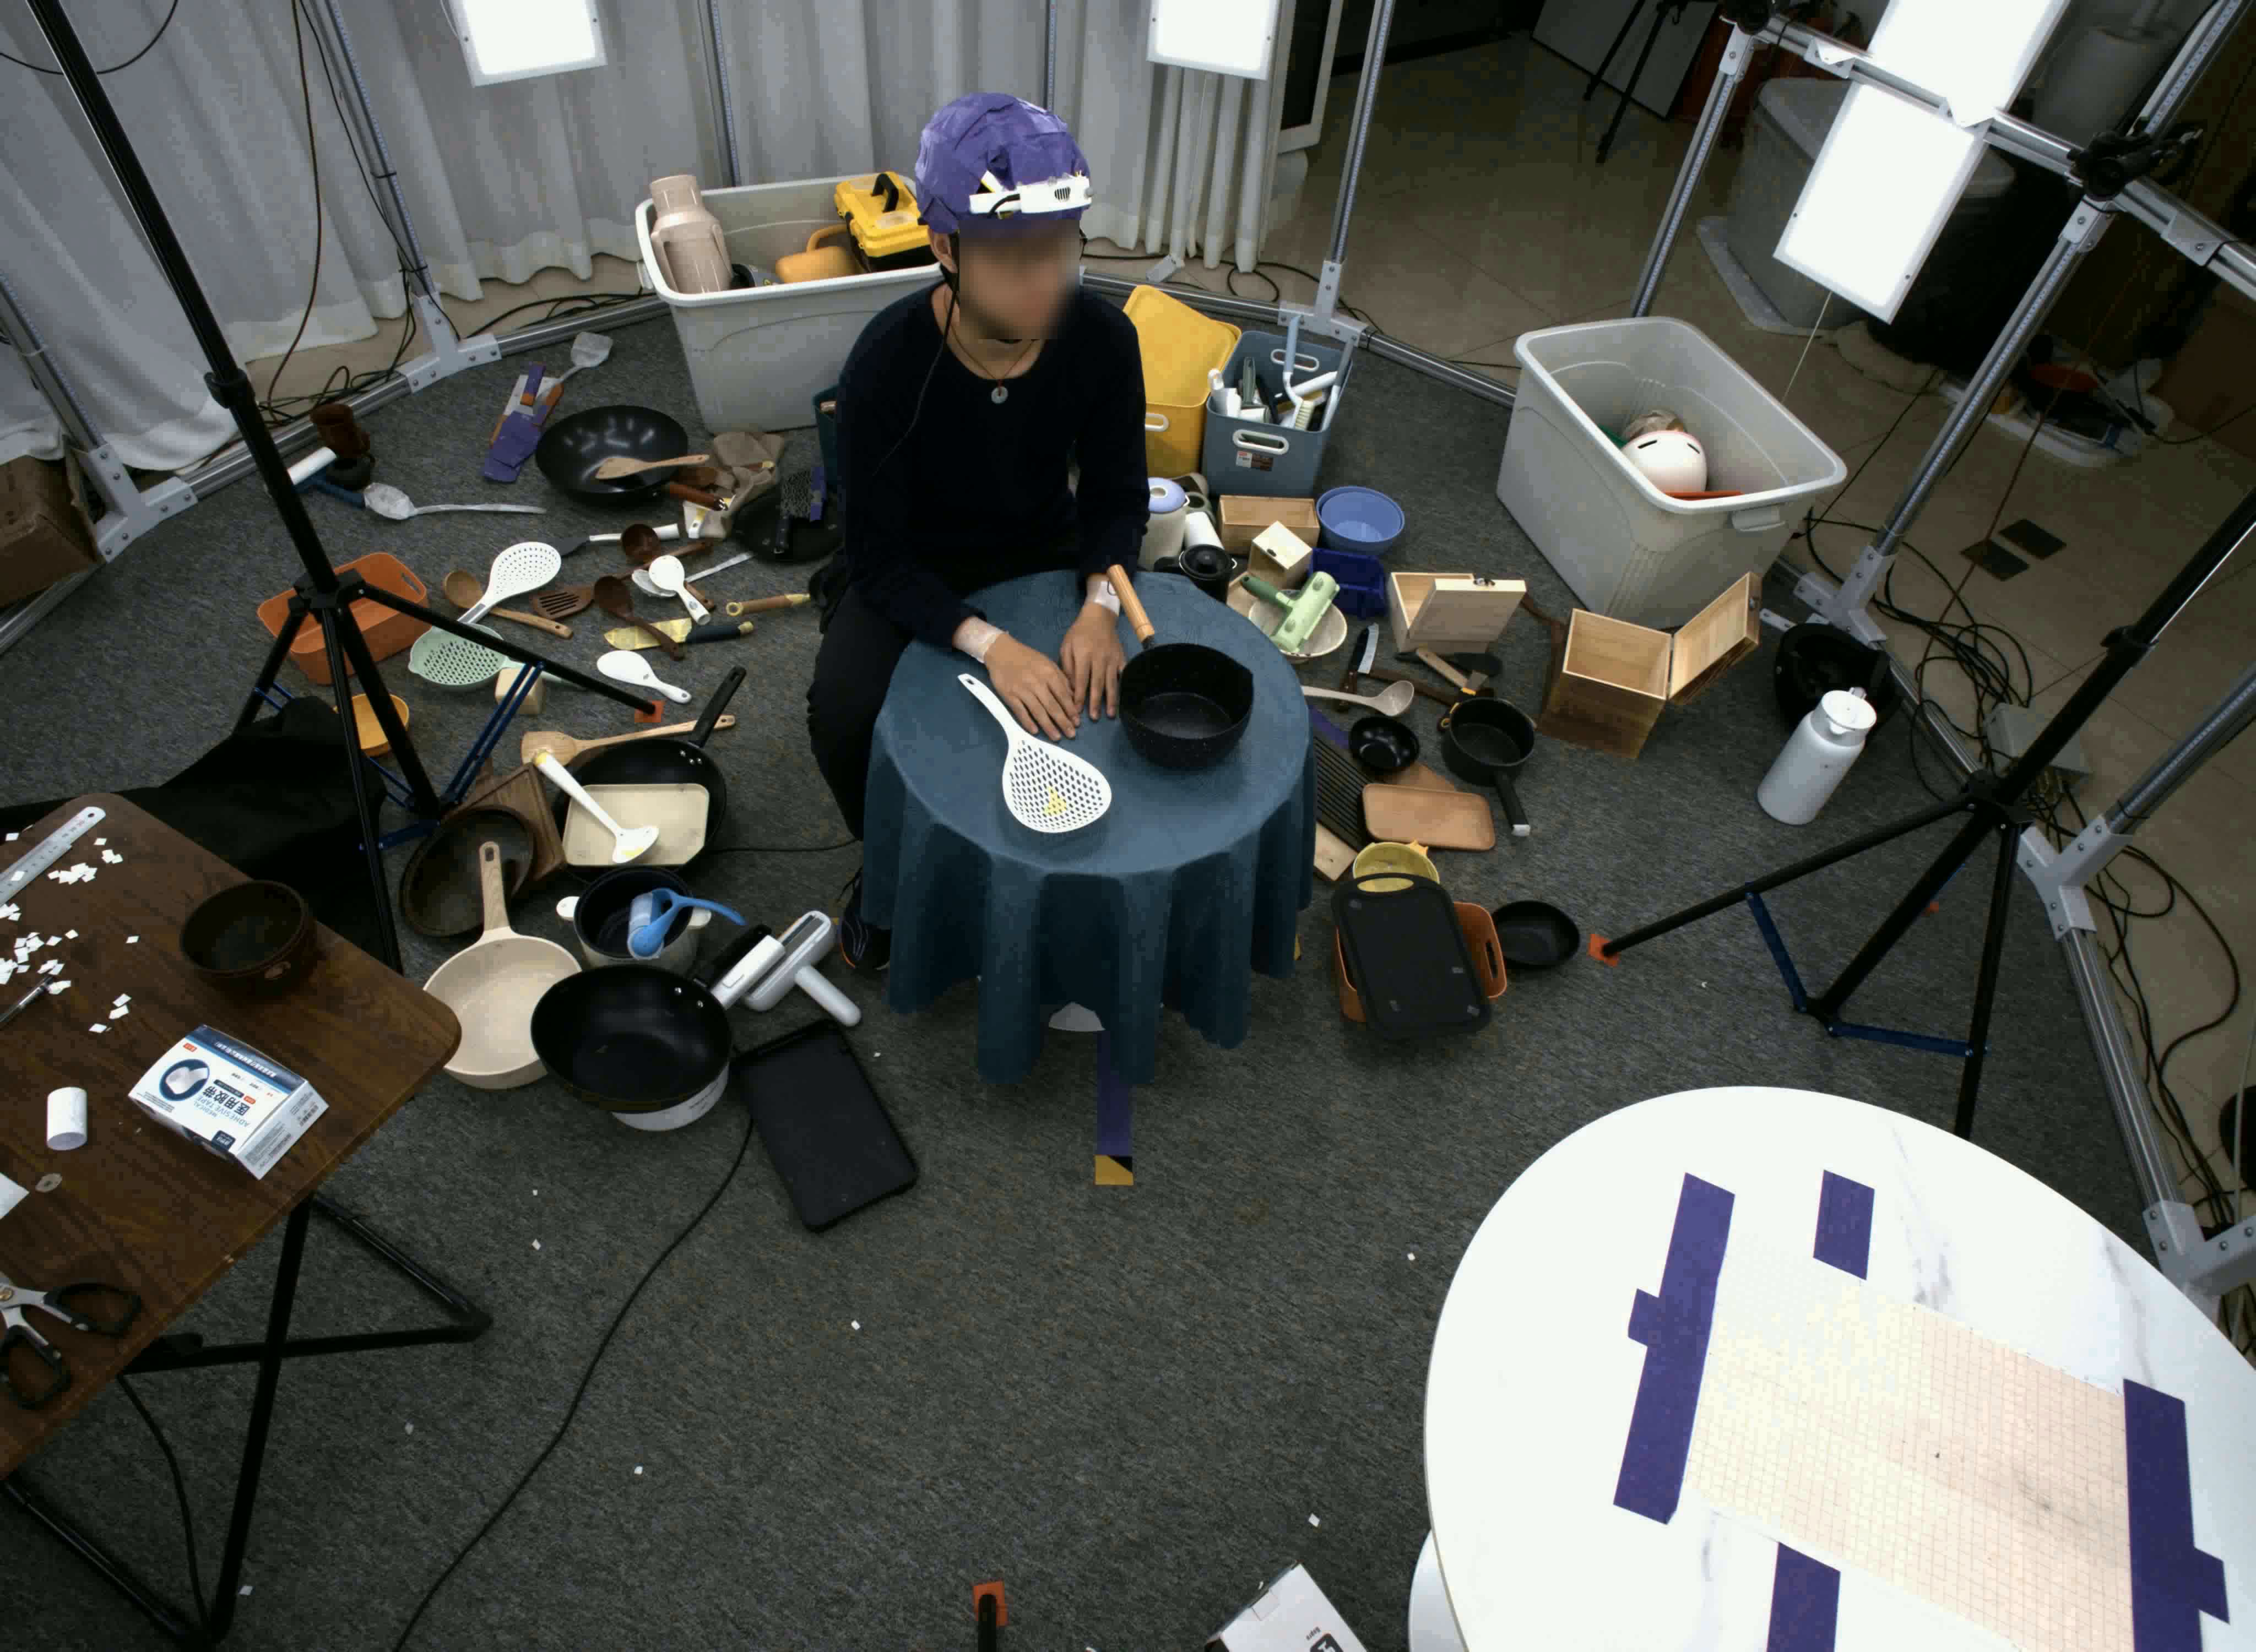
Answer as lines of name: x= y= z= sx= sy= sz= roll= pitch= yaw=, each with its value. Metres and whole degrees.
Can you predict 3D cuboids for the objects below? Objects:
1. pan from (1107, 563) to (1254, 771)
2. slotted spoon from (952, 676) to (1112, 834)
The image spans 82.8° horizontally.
pan: x=0.043 y=-0.223 z=1.796 sx=0.208 sy=0.105 sz=0.350 roll=-18 pitch=54 yaw=-17
slotted spoon: x=-0.148 y=-0.108 z=1.724 sx=0.137 sy=0.049 sz=0.355 roll=-23 pitch=56 yaw=-20
